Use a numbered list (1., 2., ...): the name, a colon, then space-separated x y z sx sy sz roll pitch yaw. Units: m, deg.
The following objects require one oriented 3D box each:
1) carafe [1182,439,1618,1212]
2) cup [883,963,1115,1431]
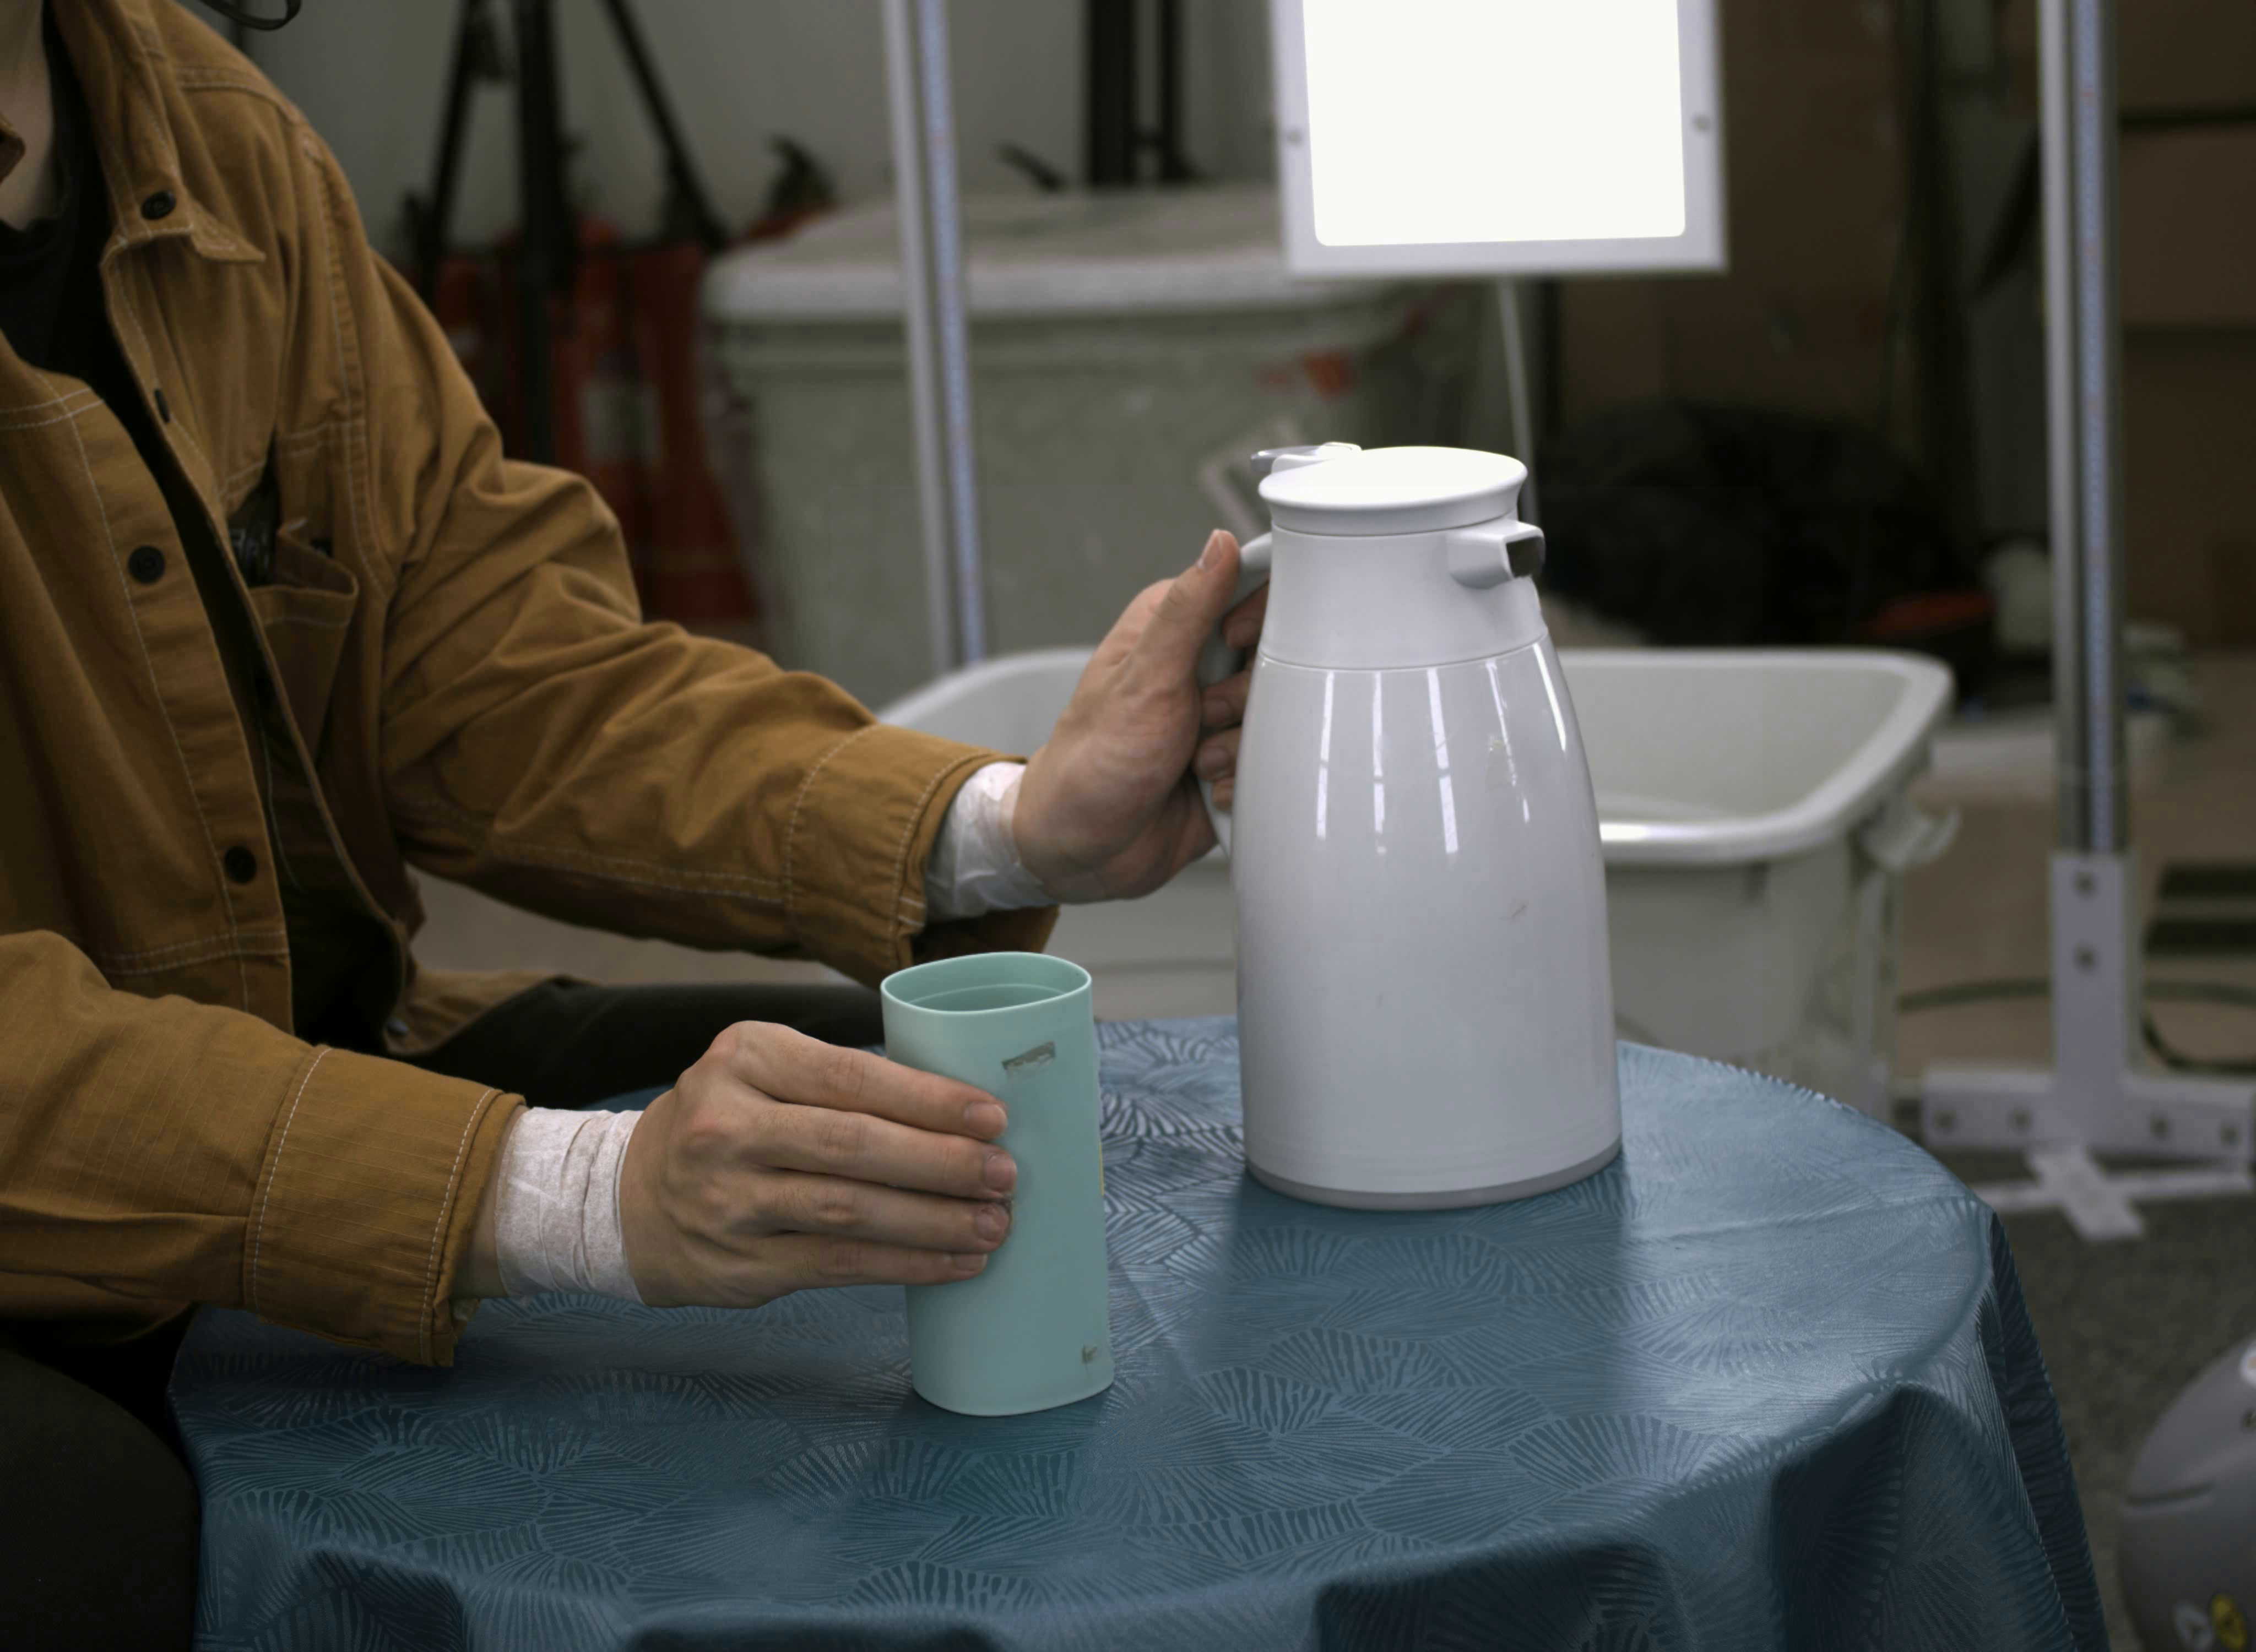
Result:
1. carafe: 0.083 -0.008 1.896 0.129 0.249 0.171 -16 17 -38
2. cup: -0.040 0.114 1.705 0.066 0.133 0.066 -4 14 0
